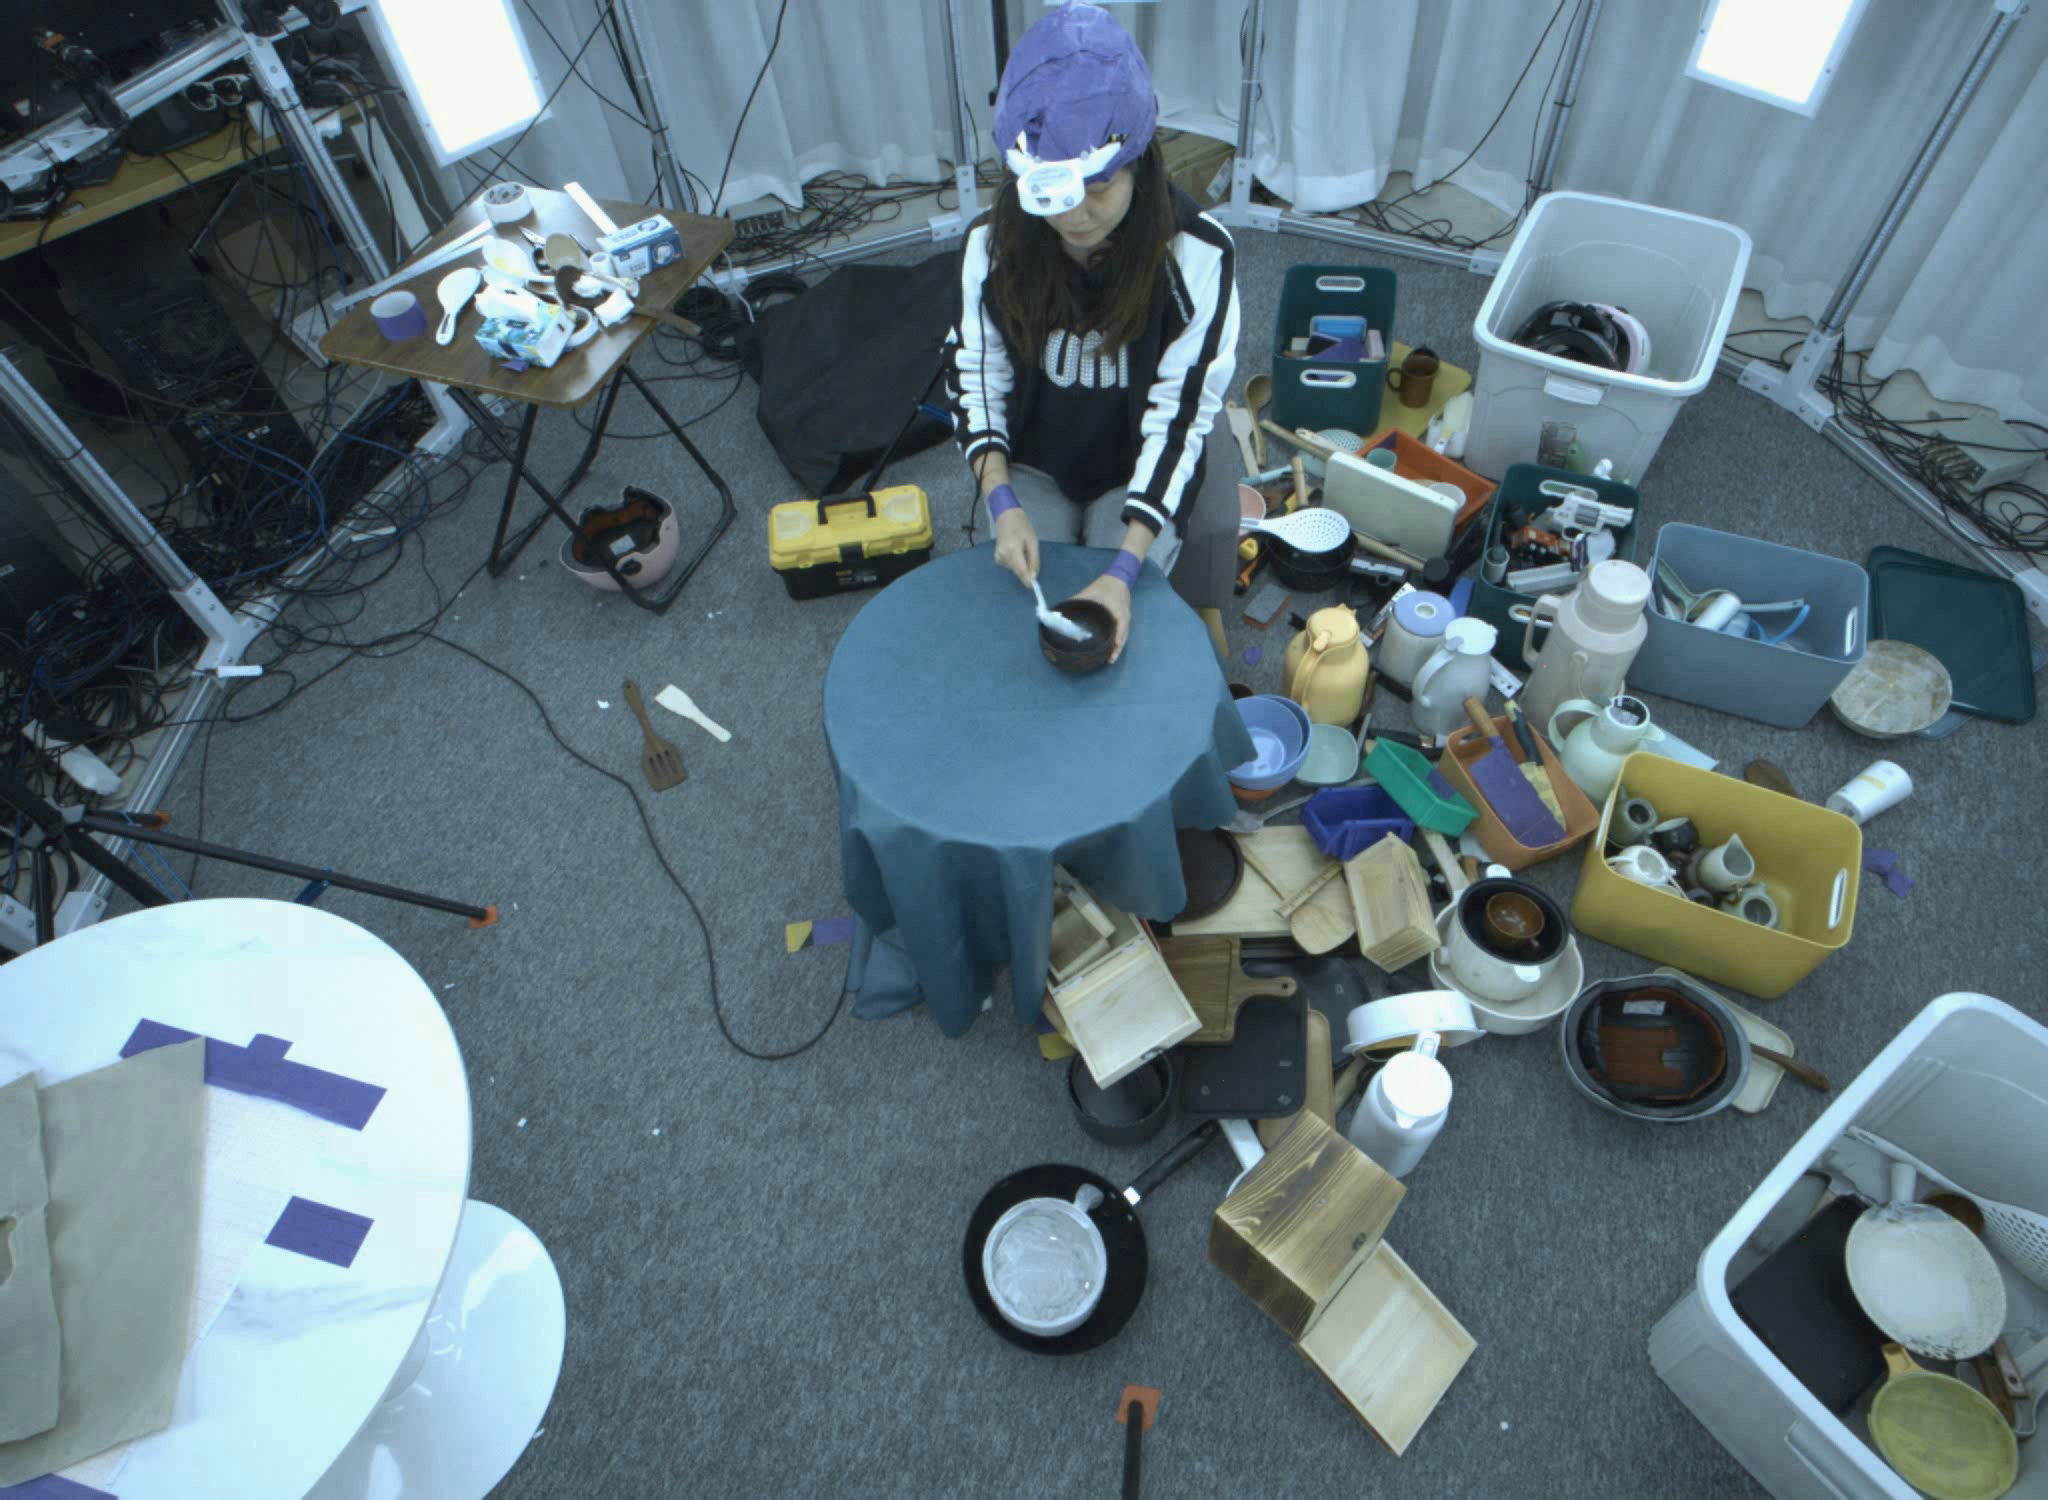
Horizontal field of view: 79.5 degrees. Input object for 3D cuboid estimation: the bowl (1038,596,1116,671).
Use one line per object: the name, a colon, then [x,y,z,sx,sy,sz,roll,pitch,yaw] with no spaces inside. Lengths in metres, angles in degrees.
bowl: [0.080,-0.167,1.857,0.118,0.070,0.117,-1,54,3]

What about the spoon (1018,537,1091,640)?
spoon: [0.042,-0.257,1.871,0.059,0.103,0.273,-36,43,22]
